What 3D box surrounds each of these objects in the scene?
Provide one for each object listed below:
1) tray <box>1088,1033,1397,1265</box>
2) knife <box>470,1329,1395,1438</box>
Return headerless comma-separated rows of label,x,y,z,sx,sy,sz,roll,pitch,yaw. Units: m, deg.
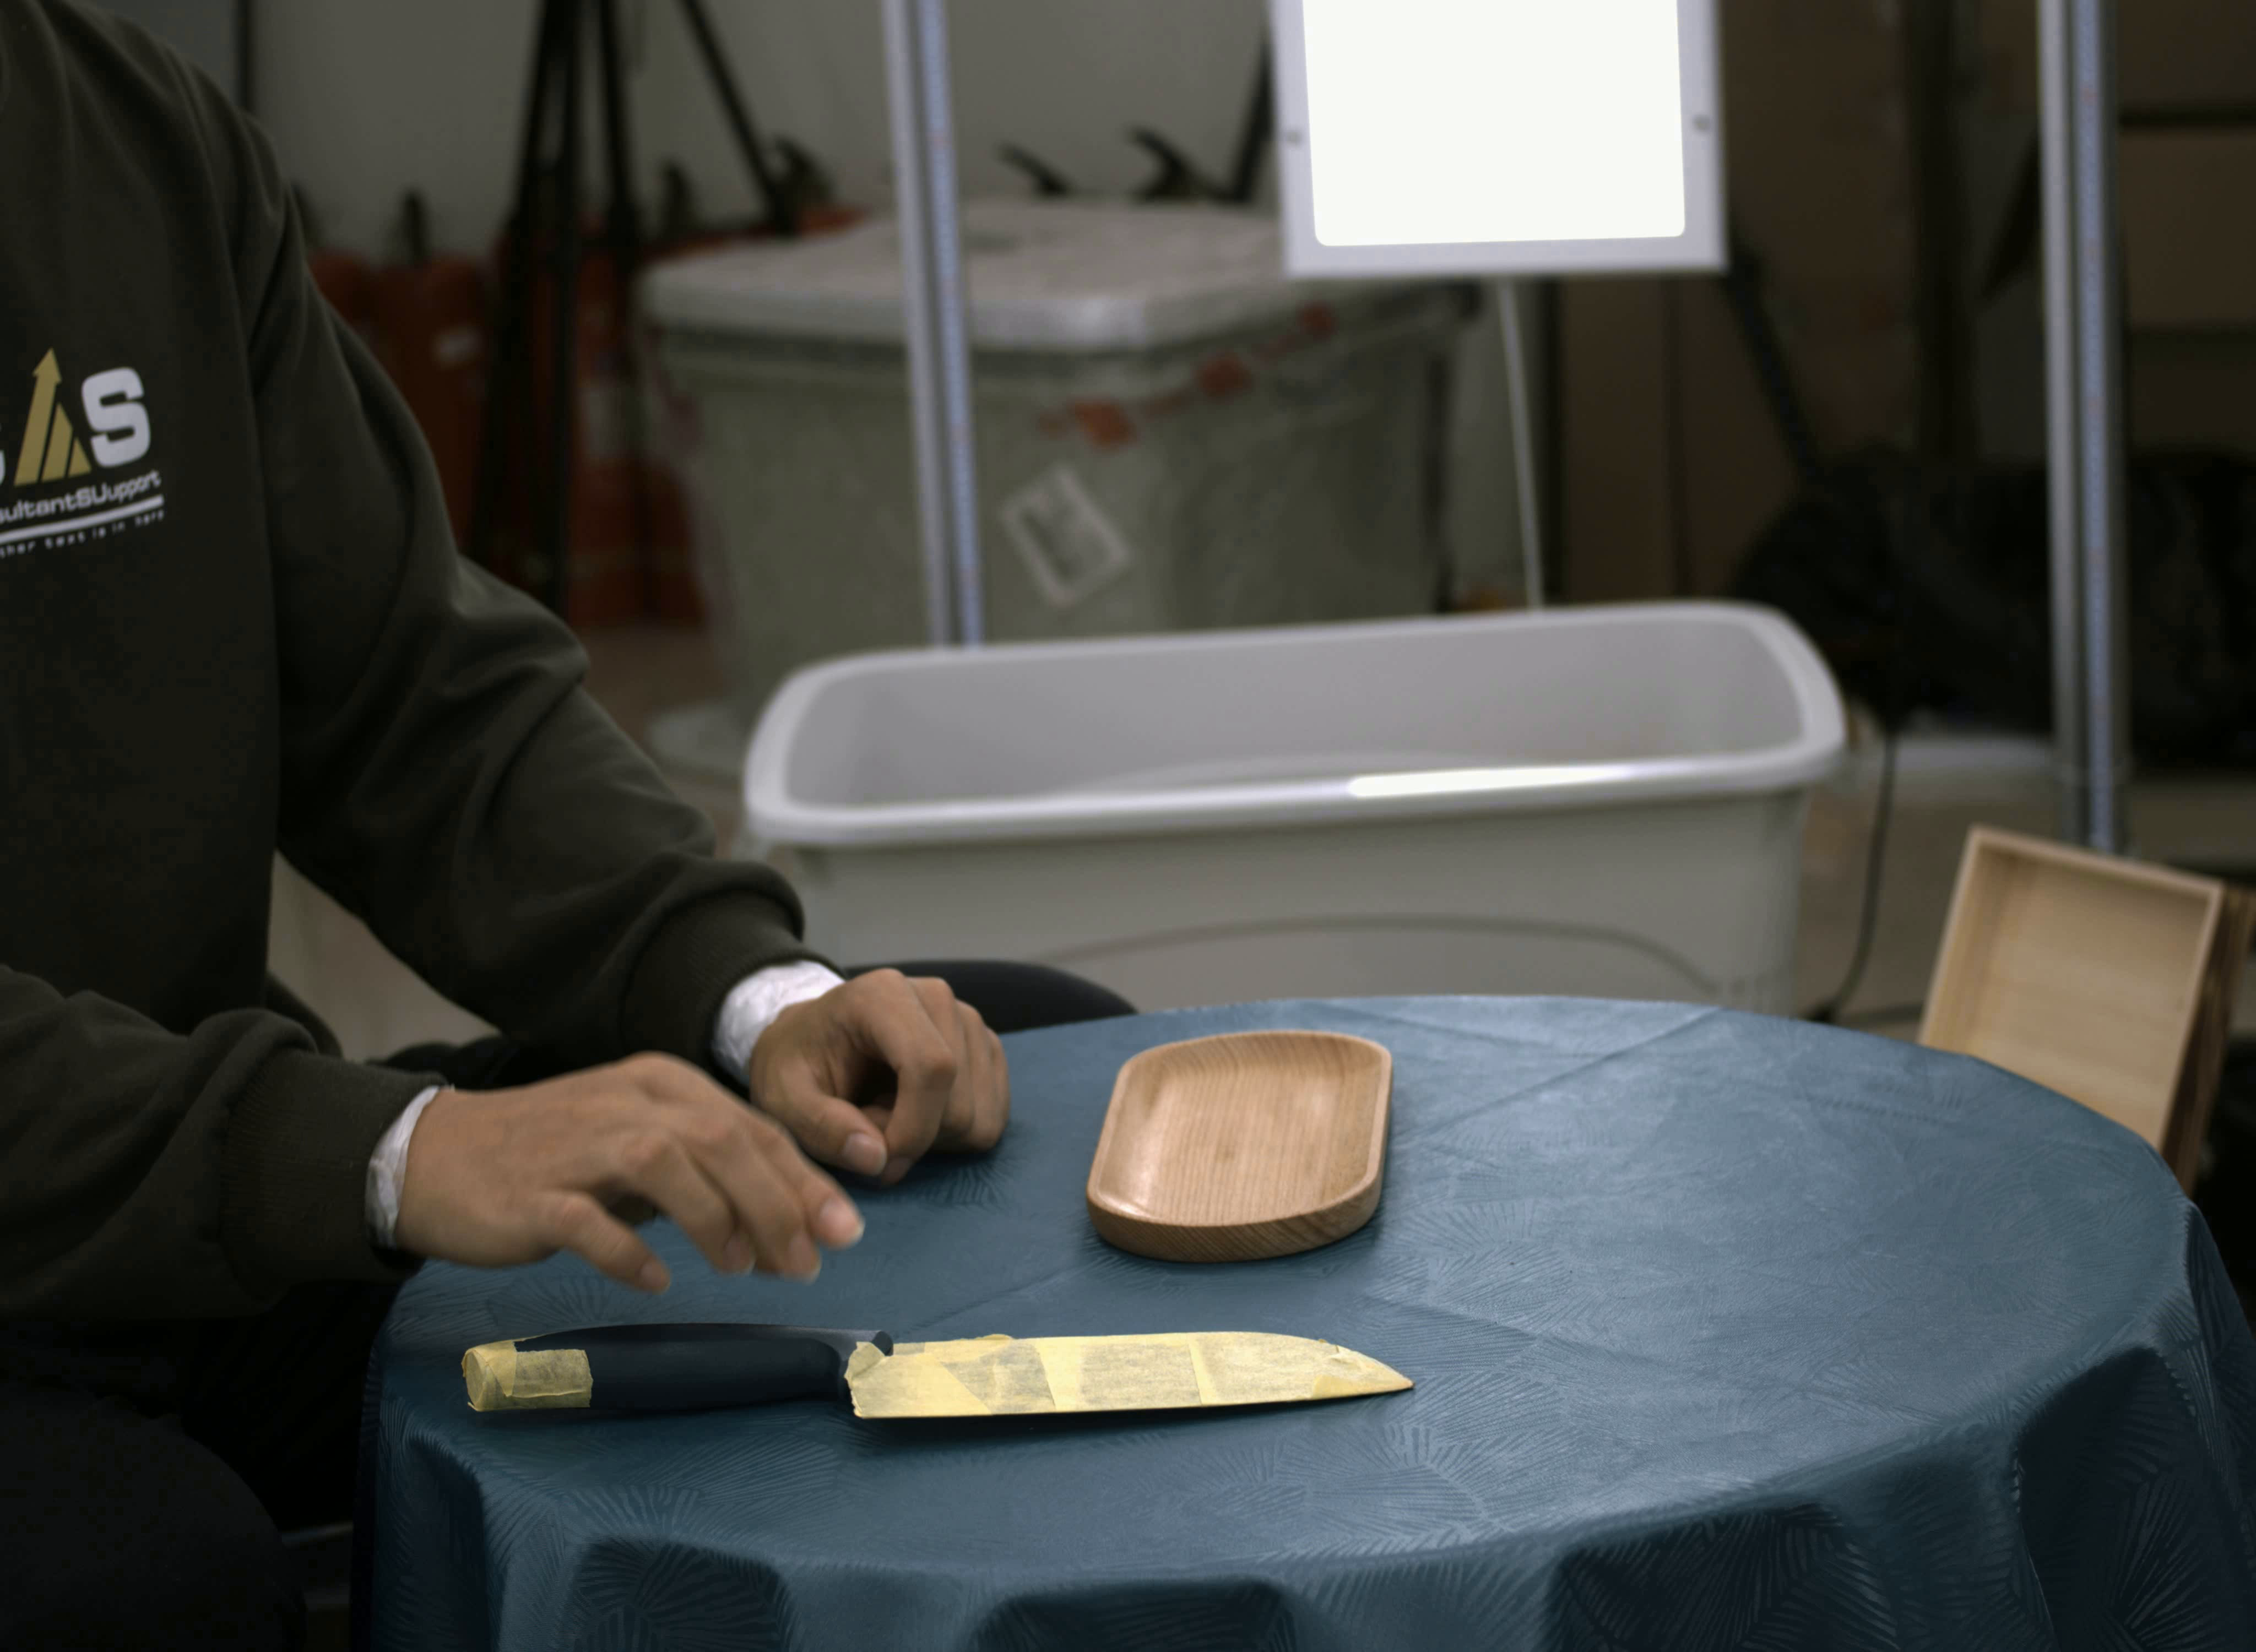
tray,0.042,0.111,1.919,0.102,0.020,0.229,-5,15,6
knife,-0.061,0.173,1.705,0.289,0.027,0.081,-3,10,2
